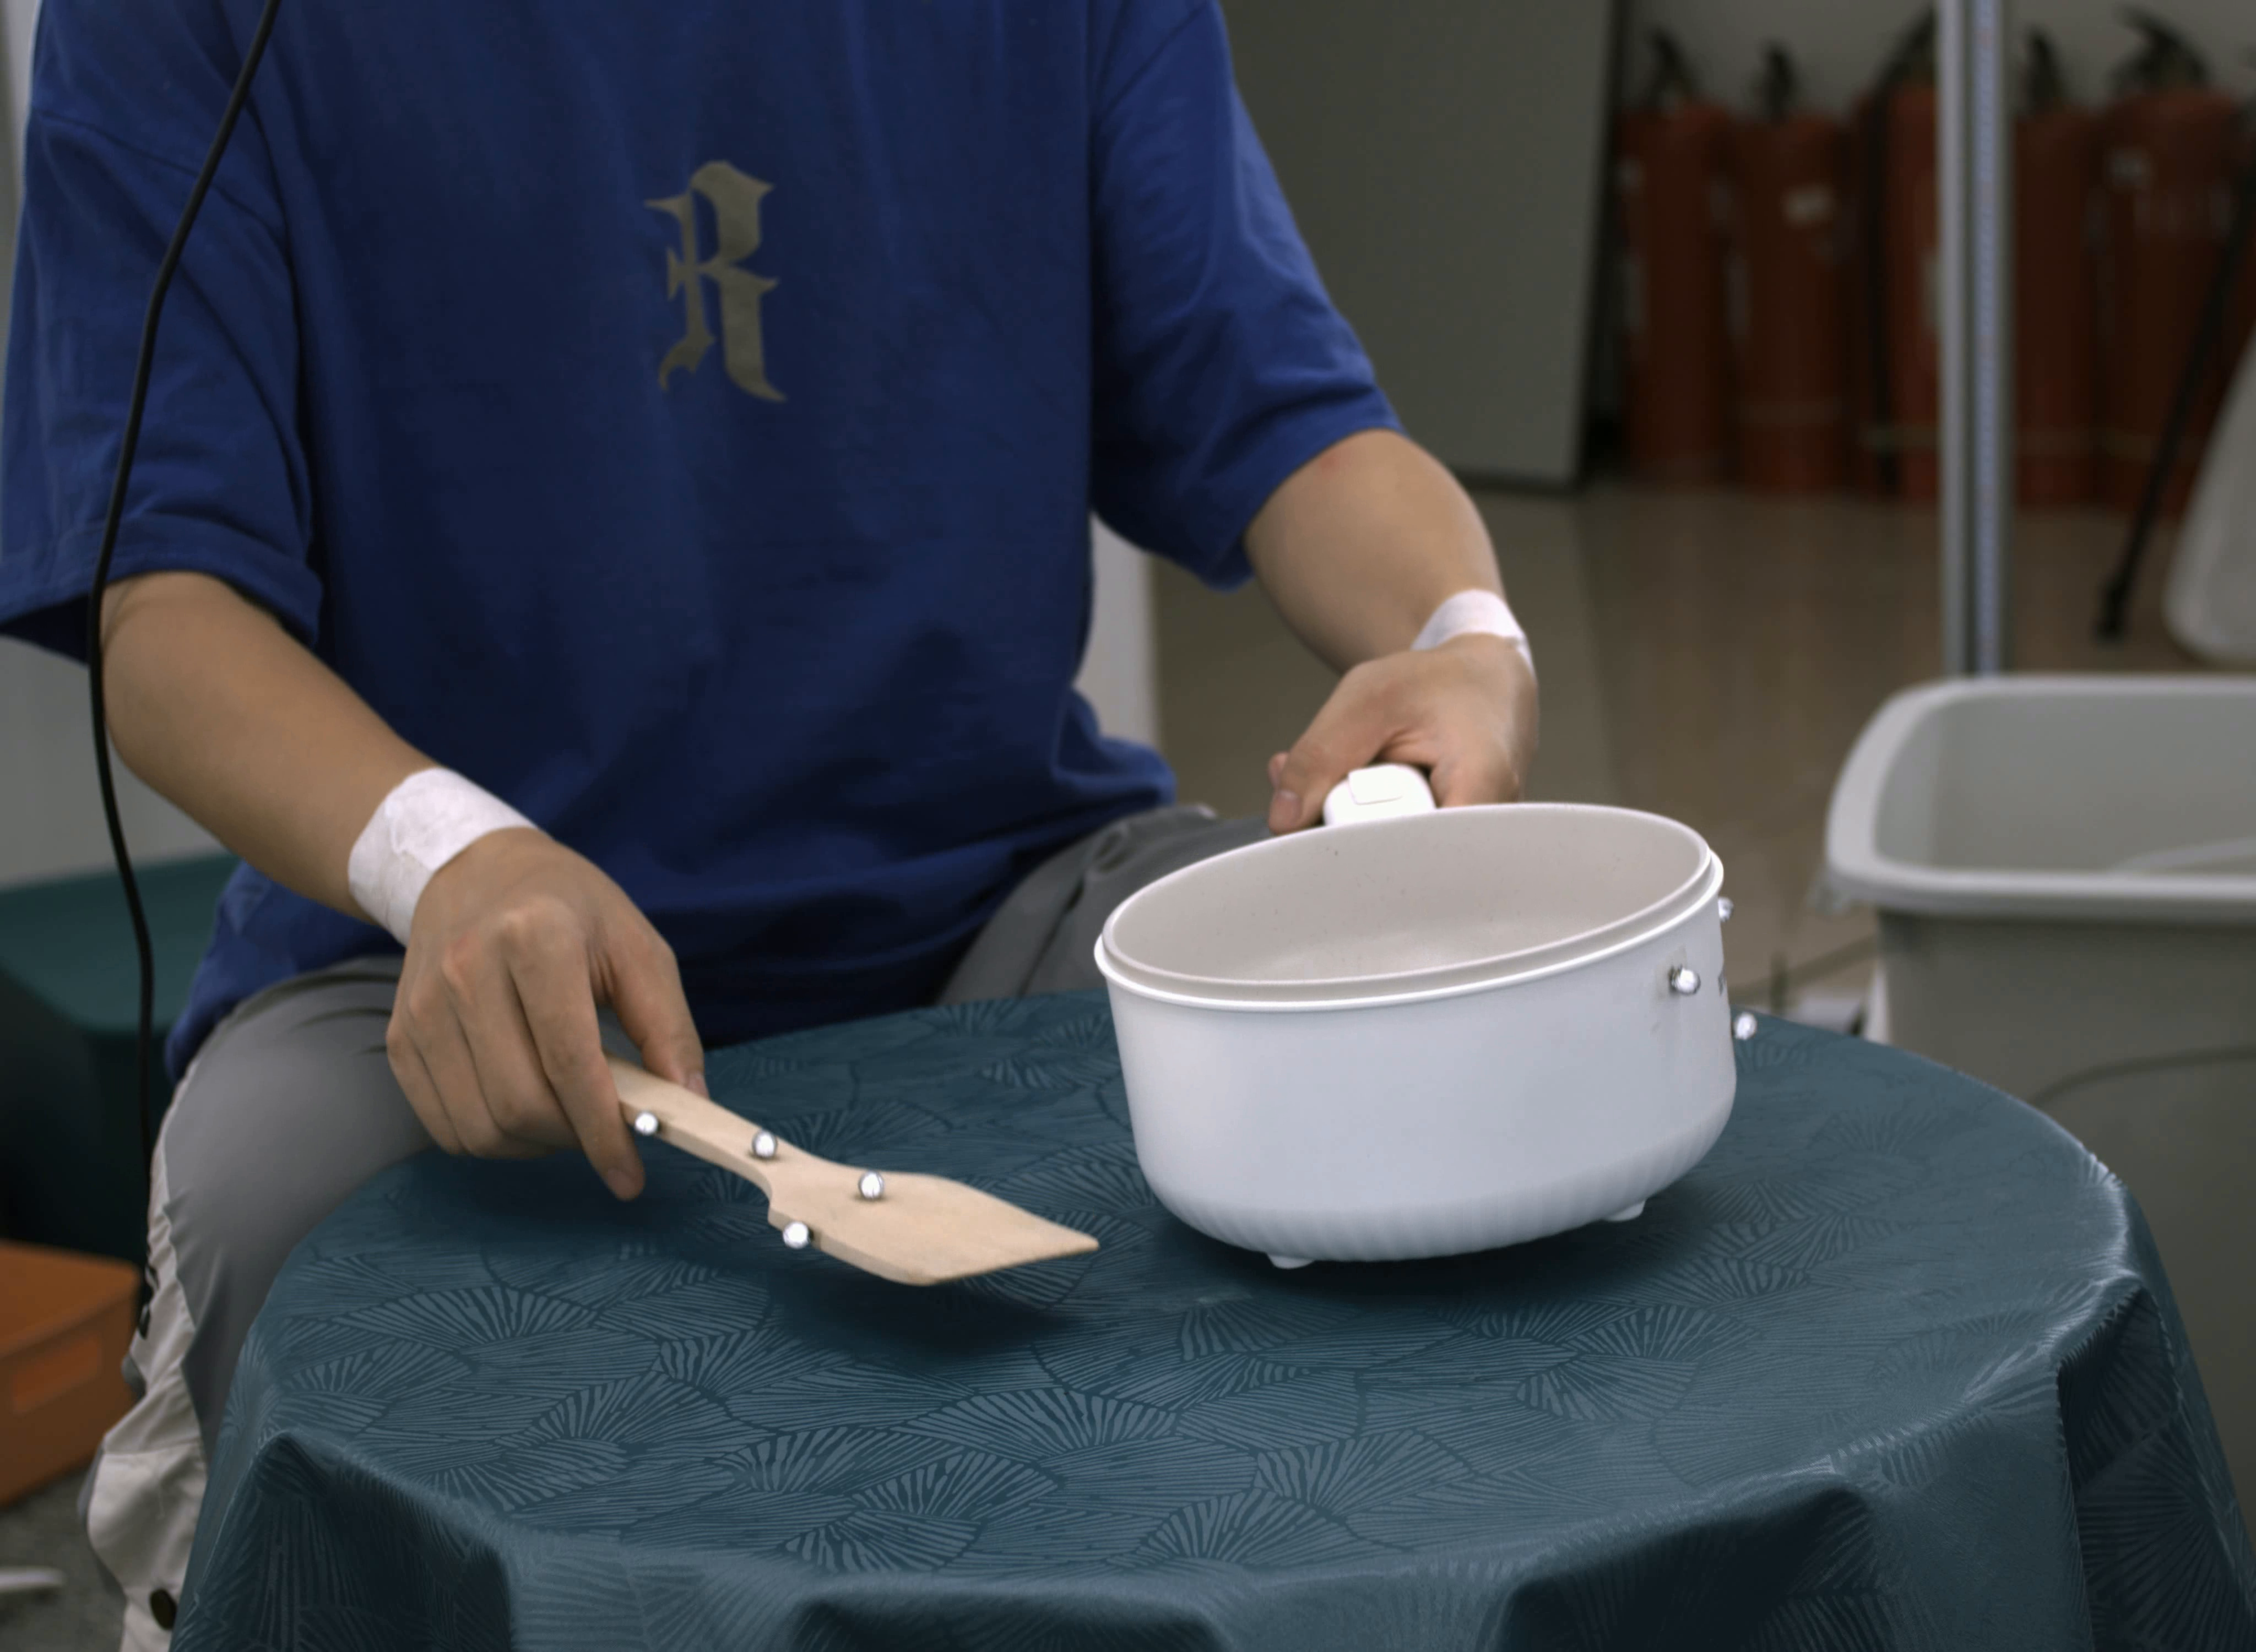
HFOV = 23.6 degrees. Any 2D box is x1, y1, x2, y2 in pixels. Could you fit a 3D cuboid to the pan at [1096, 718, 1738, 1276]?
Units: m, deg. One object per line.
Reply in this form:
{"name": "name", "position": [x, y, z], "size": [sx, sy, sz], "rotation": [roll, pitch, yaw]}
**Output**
{"name": "pan", "position": [0.093, 0.050, 1.782], "size": [0.199, 0.103, 0.355], "rotation": [-11, 13, 2]}

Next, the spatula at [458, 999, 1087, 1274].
{"name": "spatula", "position": [-0.129, 0.097, 1.738], "size": [0.070, 0.011, 0.296], "rotation": [-10, 20, -38]}
